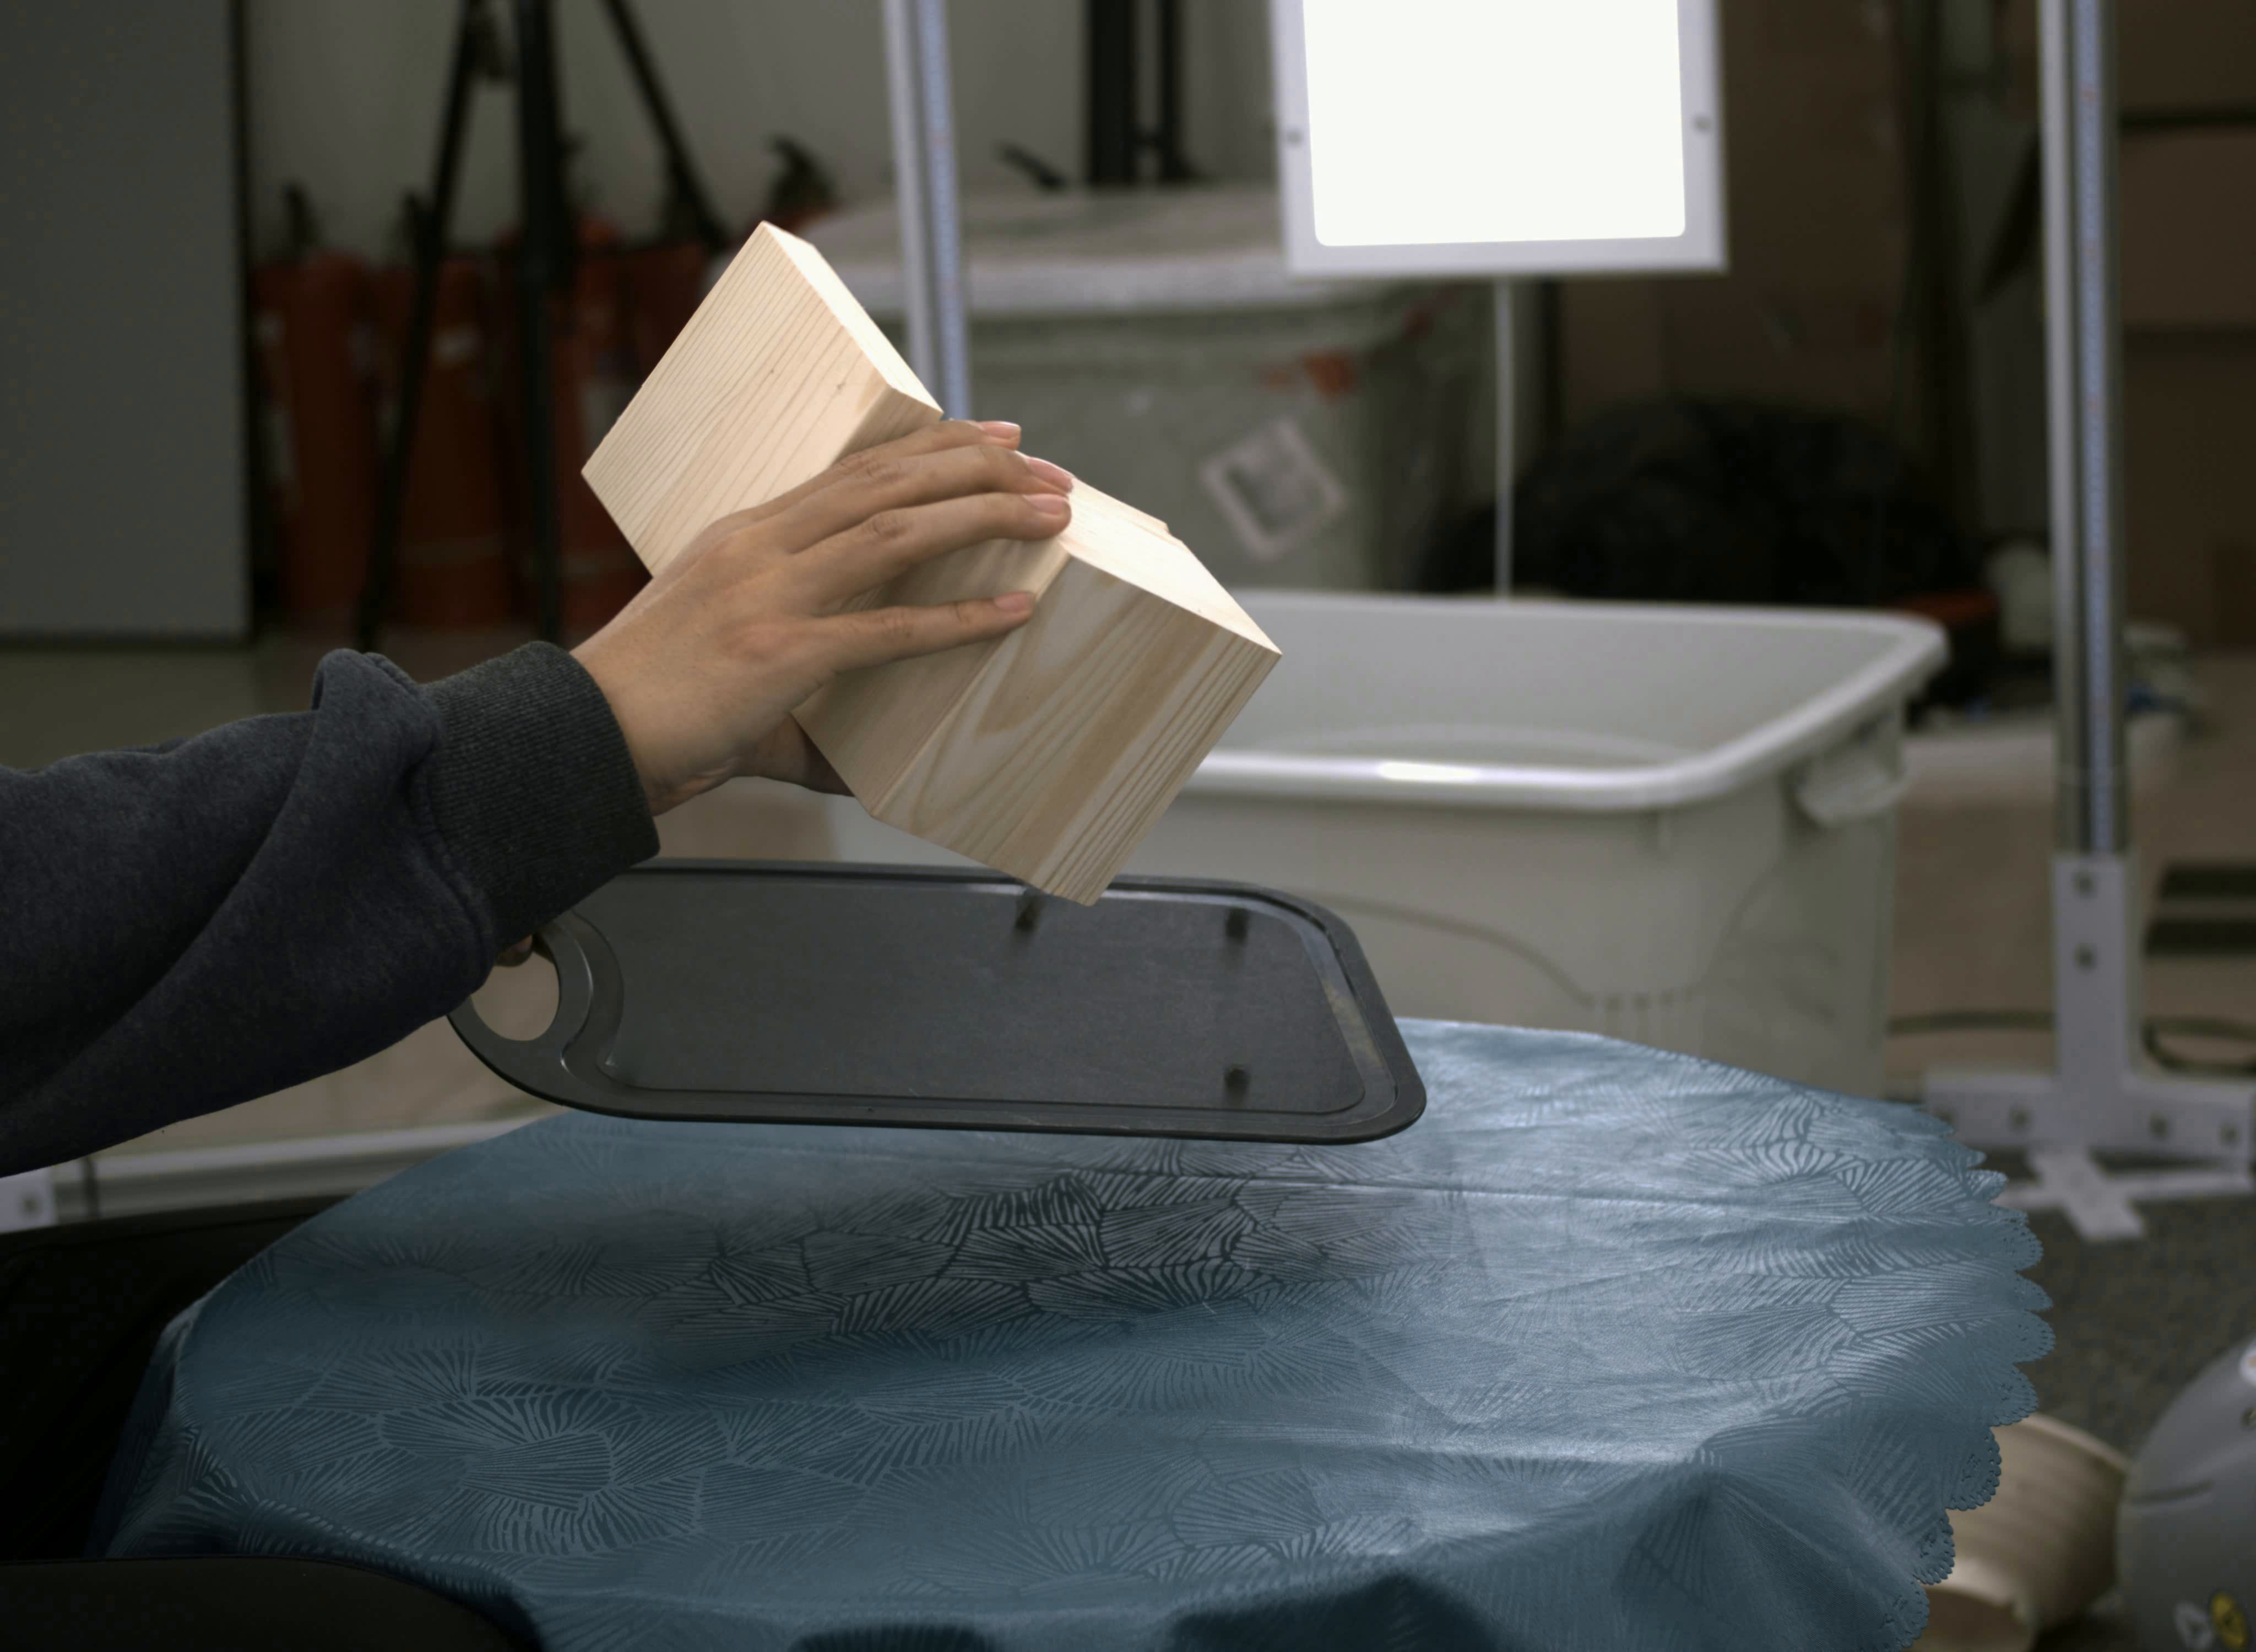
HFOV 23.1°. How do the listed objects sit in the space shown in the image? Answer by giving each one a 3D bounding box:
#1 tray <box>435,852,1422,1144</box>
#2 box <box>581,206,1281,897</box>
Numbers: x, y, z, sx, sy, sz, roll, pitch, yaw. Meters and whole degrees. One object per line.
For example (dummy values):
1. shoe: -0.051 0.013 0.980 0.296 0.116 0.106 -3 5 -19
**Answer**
1. tray: -0.070 0.054 1.851 0.322 0.010 0.211 2 22 -8
2. box: -0.063 -0.086 1.705 0.131 0.104 0.186 21 23 -45
